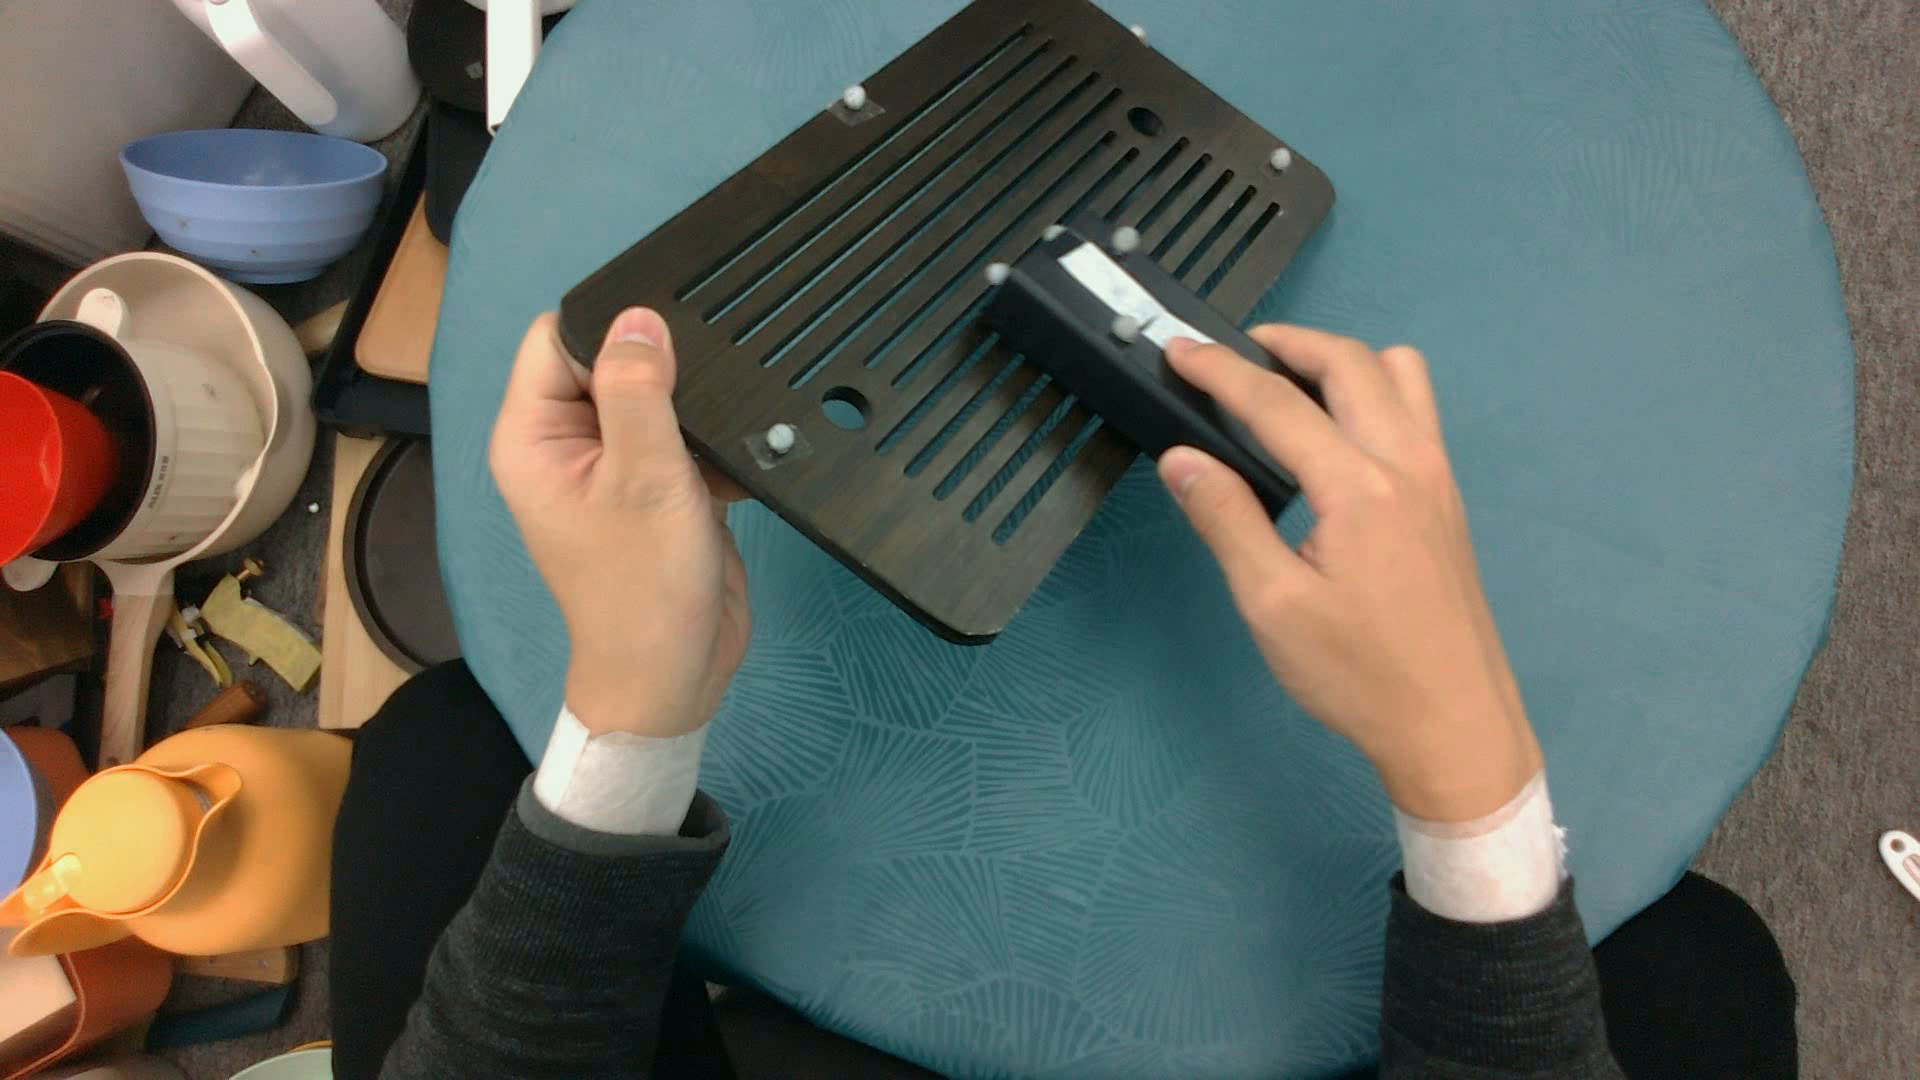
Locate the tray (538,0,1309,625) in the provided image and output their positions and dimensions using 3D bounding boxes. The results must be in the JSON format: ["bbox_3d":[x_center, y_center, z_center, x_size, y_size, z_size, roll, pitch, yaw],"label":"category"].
[{"bbox_3d":[0.008,-0.111,0.507,0.170,0.018,0.307,37,52,4],"label":"tray"}]

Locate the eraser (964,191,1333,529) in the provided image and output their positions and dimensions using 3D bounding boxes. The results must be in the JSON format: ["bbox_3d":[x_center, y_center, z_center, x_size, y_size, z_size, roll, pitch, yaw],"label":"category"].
[{"bbox_3d":[0.063,-0.062,0.469,0.125,0.030,0.054,41,55,7],"label":"eraser"}]
